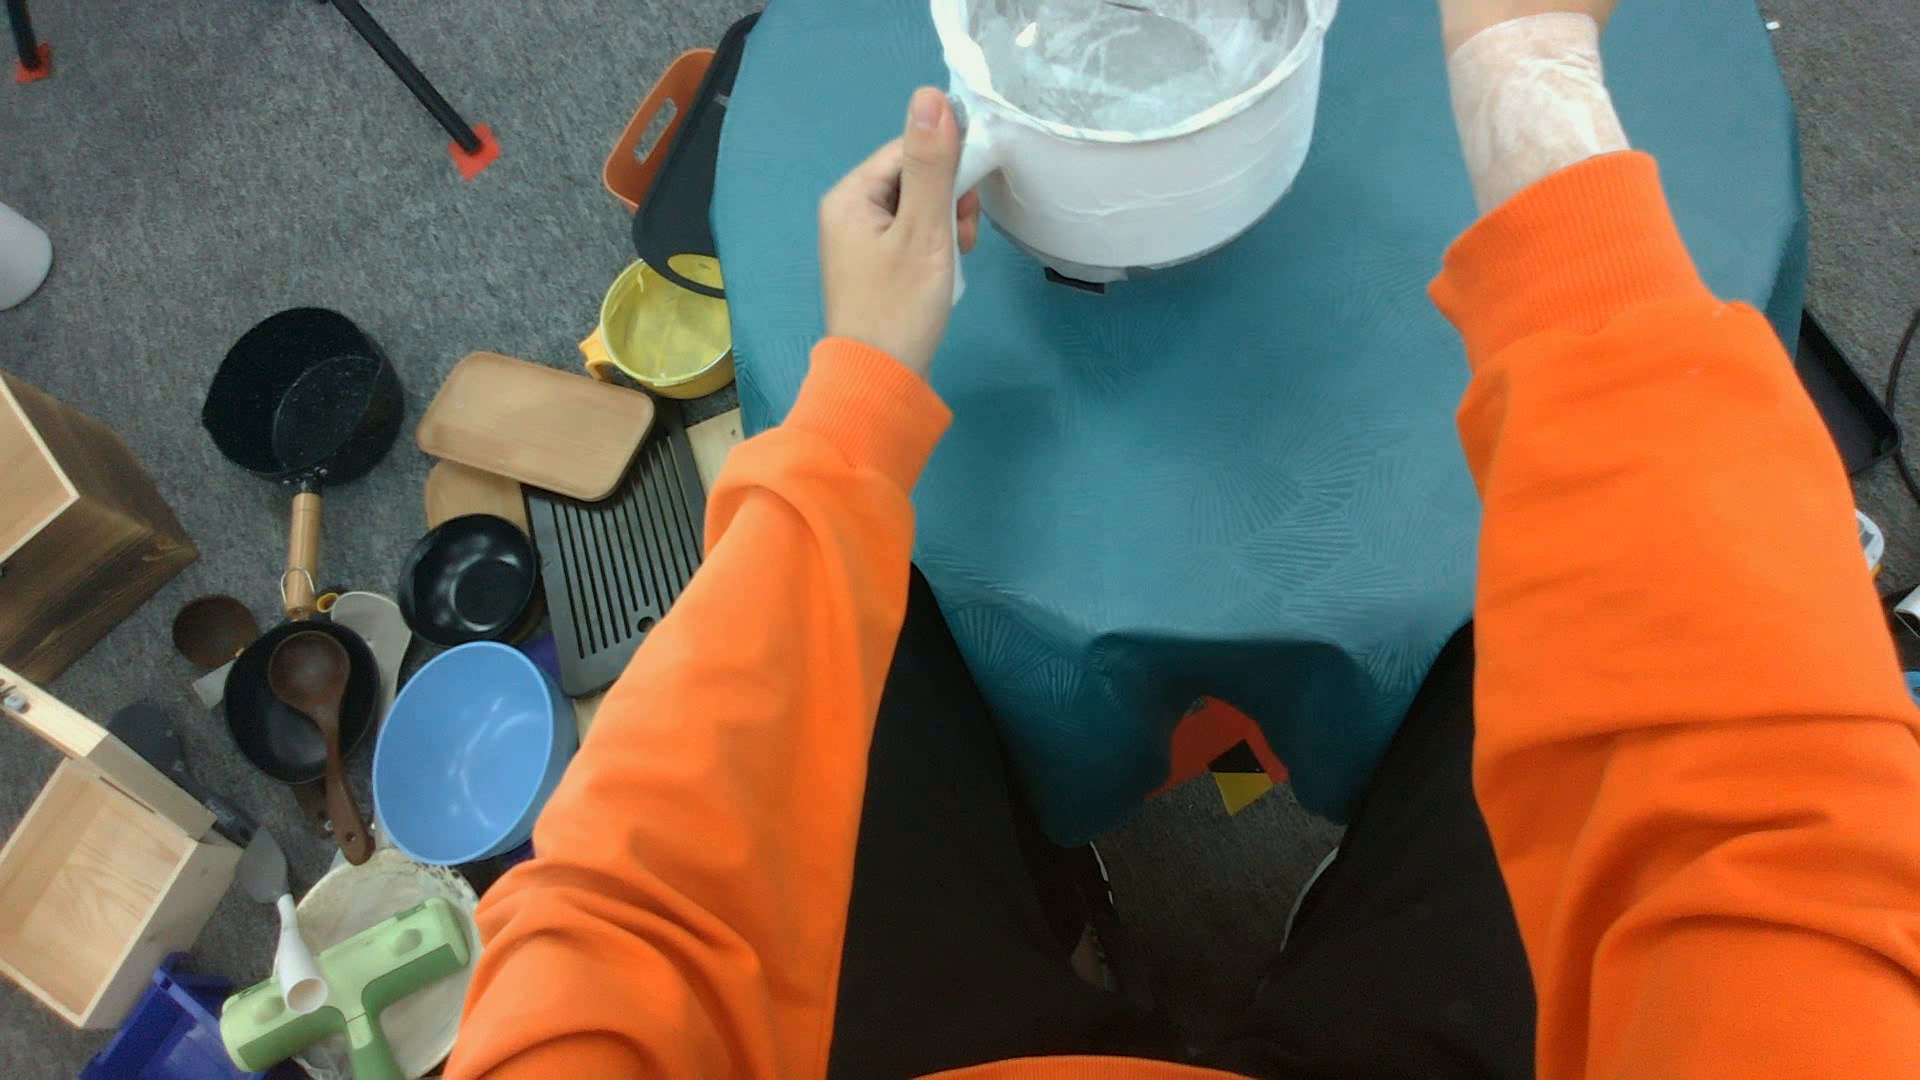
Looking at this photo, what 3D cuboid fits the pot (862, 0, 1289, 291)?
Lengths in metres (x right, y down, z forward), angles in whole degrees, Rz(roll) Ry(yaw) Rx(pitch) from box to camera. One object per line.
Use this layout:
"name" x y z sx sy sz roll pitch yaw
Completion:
"pot" 0.047 -0.218 0.655 0.234 0.136 0.179 -42 70 -10
